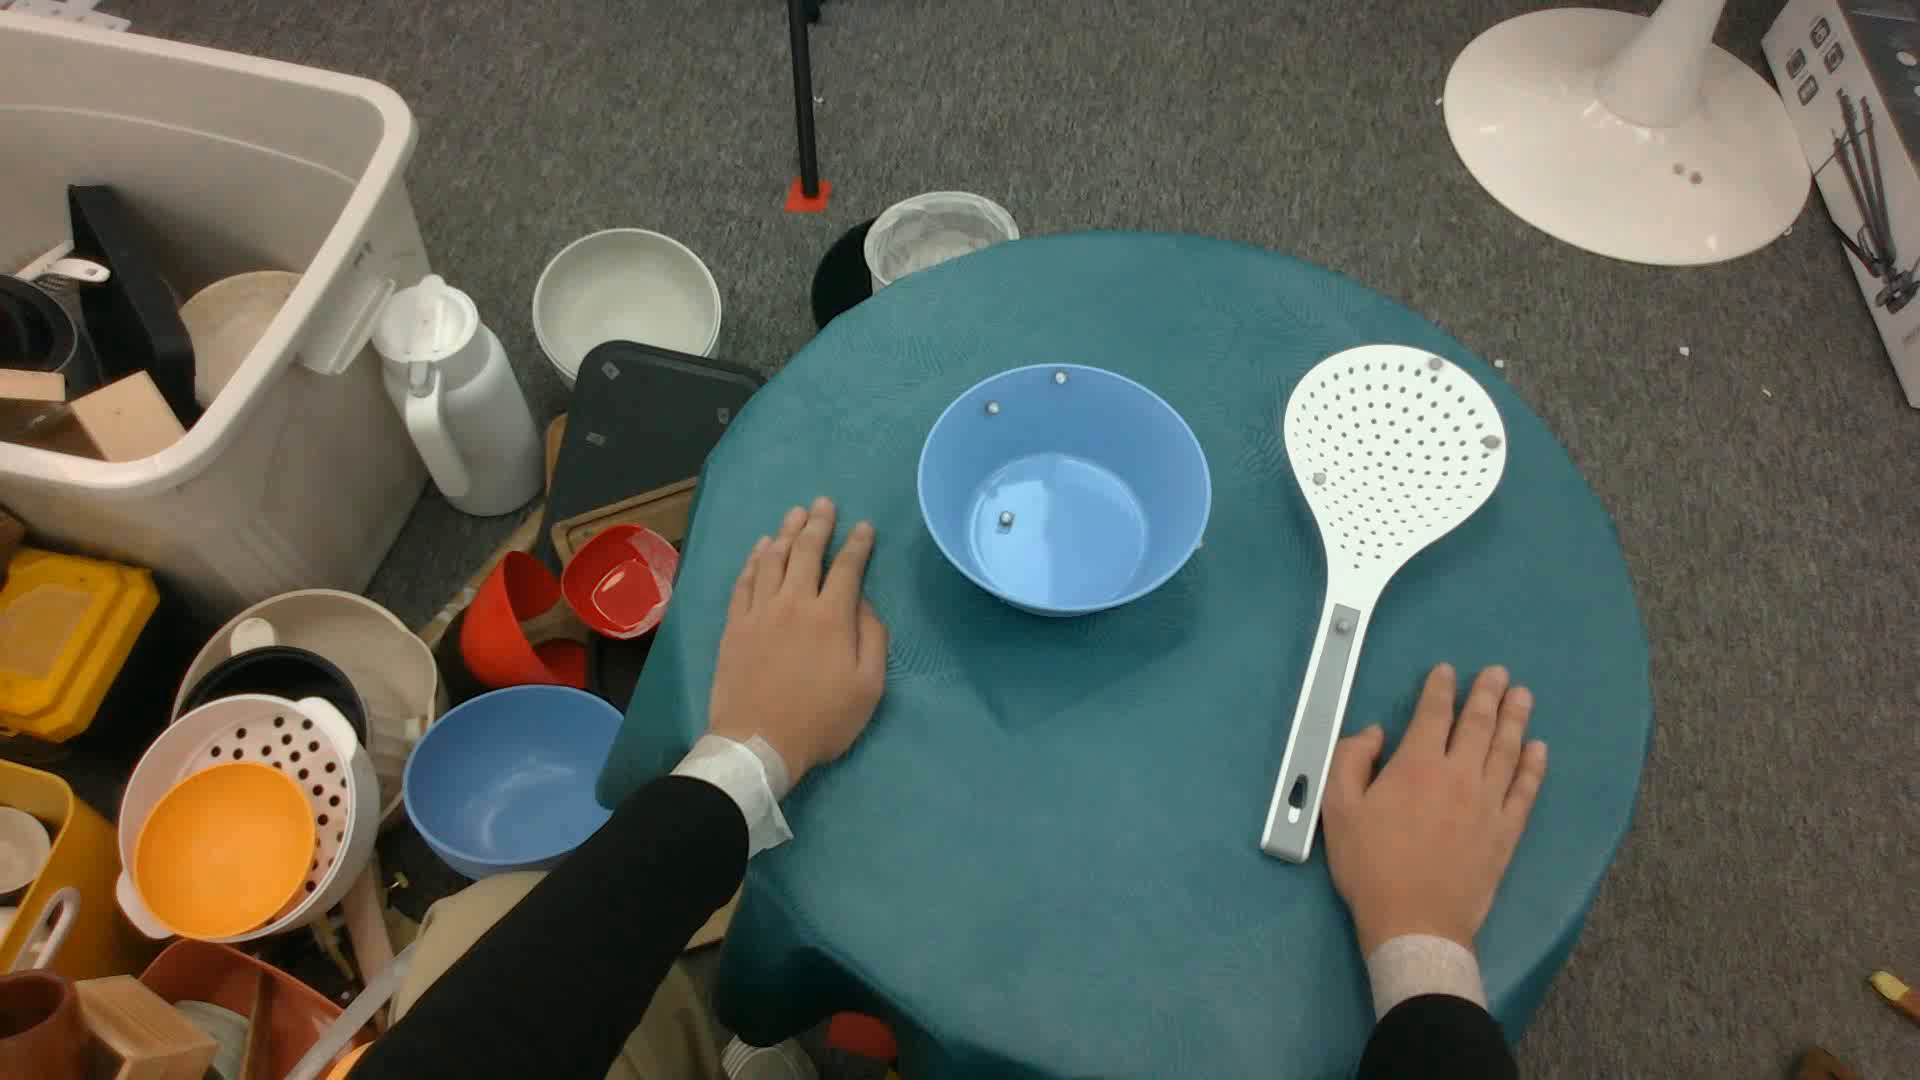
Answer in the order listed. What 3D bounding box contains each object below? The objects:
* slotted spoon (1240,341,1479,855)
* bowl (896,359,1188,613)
[{"bbox_3d":[0.228,0.025,0.842,0.136,0.045,0.351,17,61,8],"label":"slotted spoon"},{"bbox_3d":[0.048,-0.022,0.847,0.176,0.070,0.177,1,60,-2],"label":"bowl"}]
